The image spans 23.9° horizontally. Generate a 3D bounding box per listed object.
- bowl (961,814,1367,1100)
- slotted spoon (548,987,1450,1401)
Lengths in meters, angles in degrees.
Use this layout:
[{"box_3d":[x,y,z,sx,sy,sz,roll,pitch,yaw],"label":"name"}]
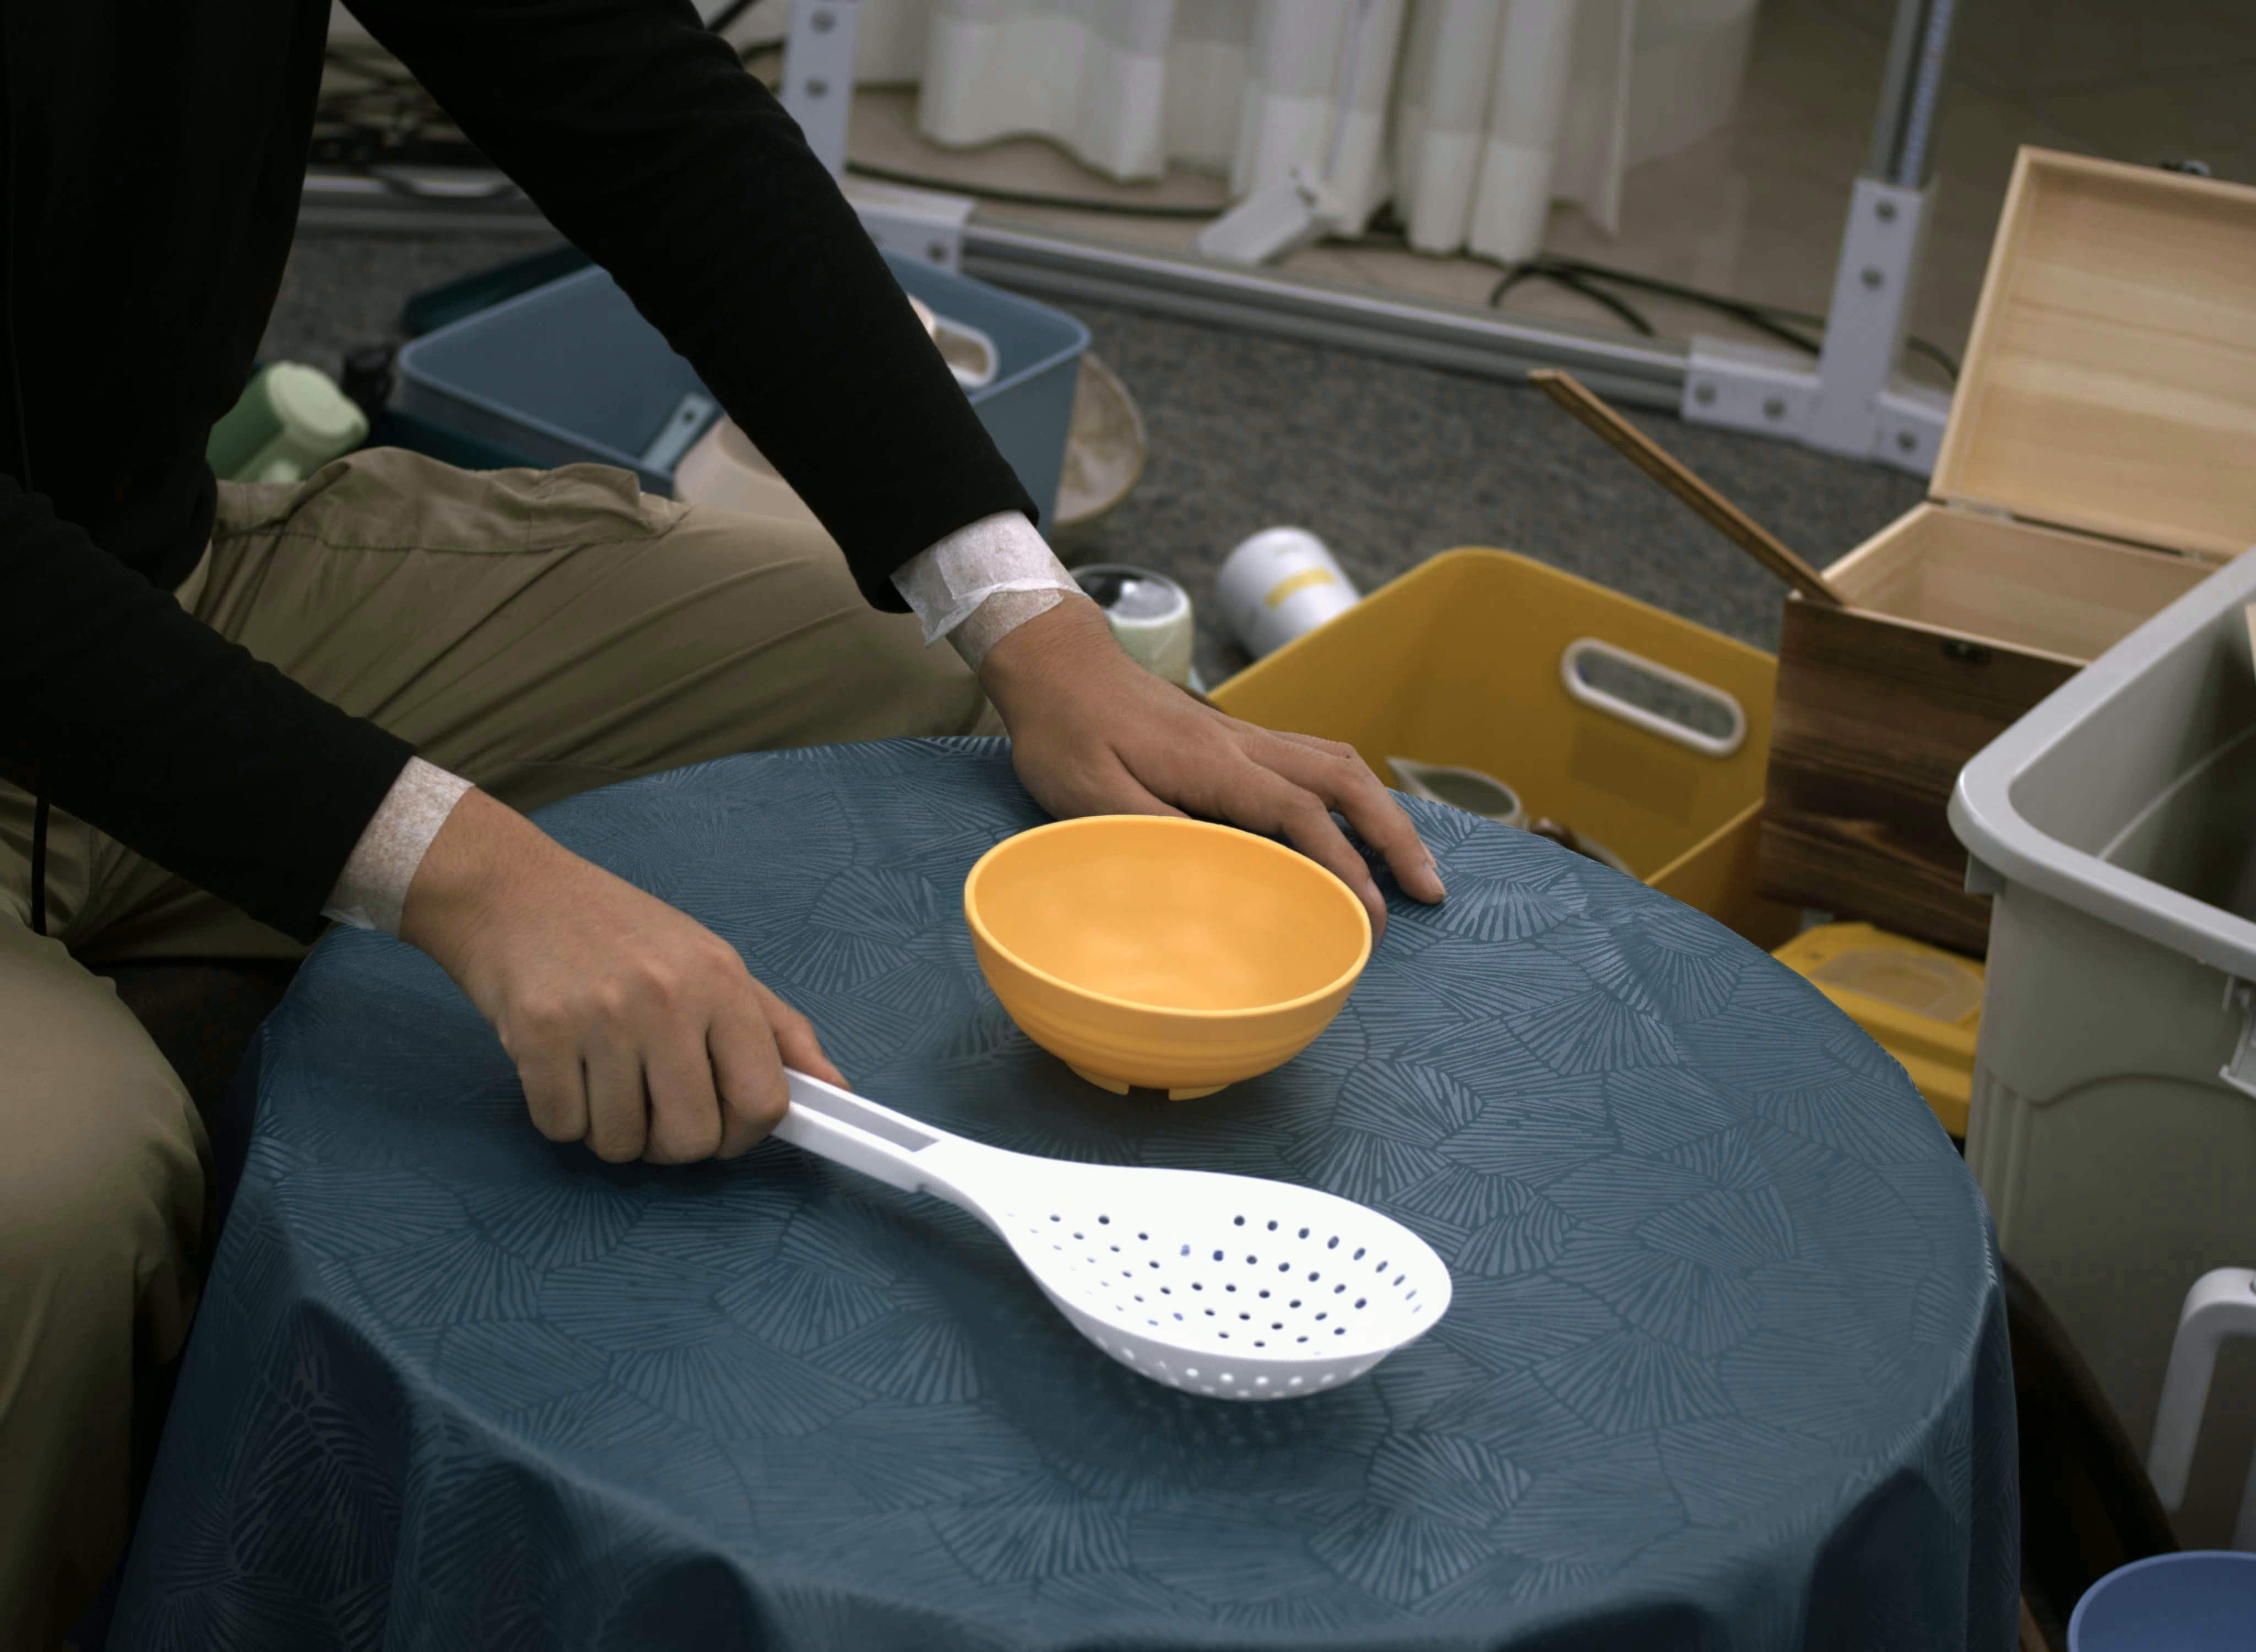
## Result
[{"box_3d":[0.009,0.056,1.875,0.145,0.060,0.146,7,27,-4],"label":"bowl"},{"box_3d":[-0.053,0.114,1.749,0.352,0.045,0.135,24,27,29],"label":"slotted spoon"}]
